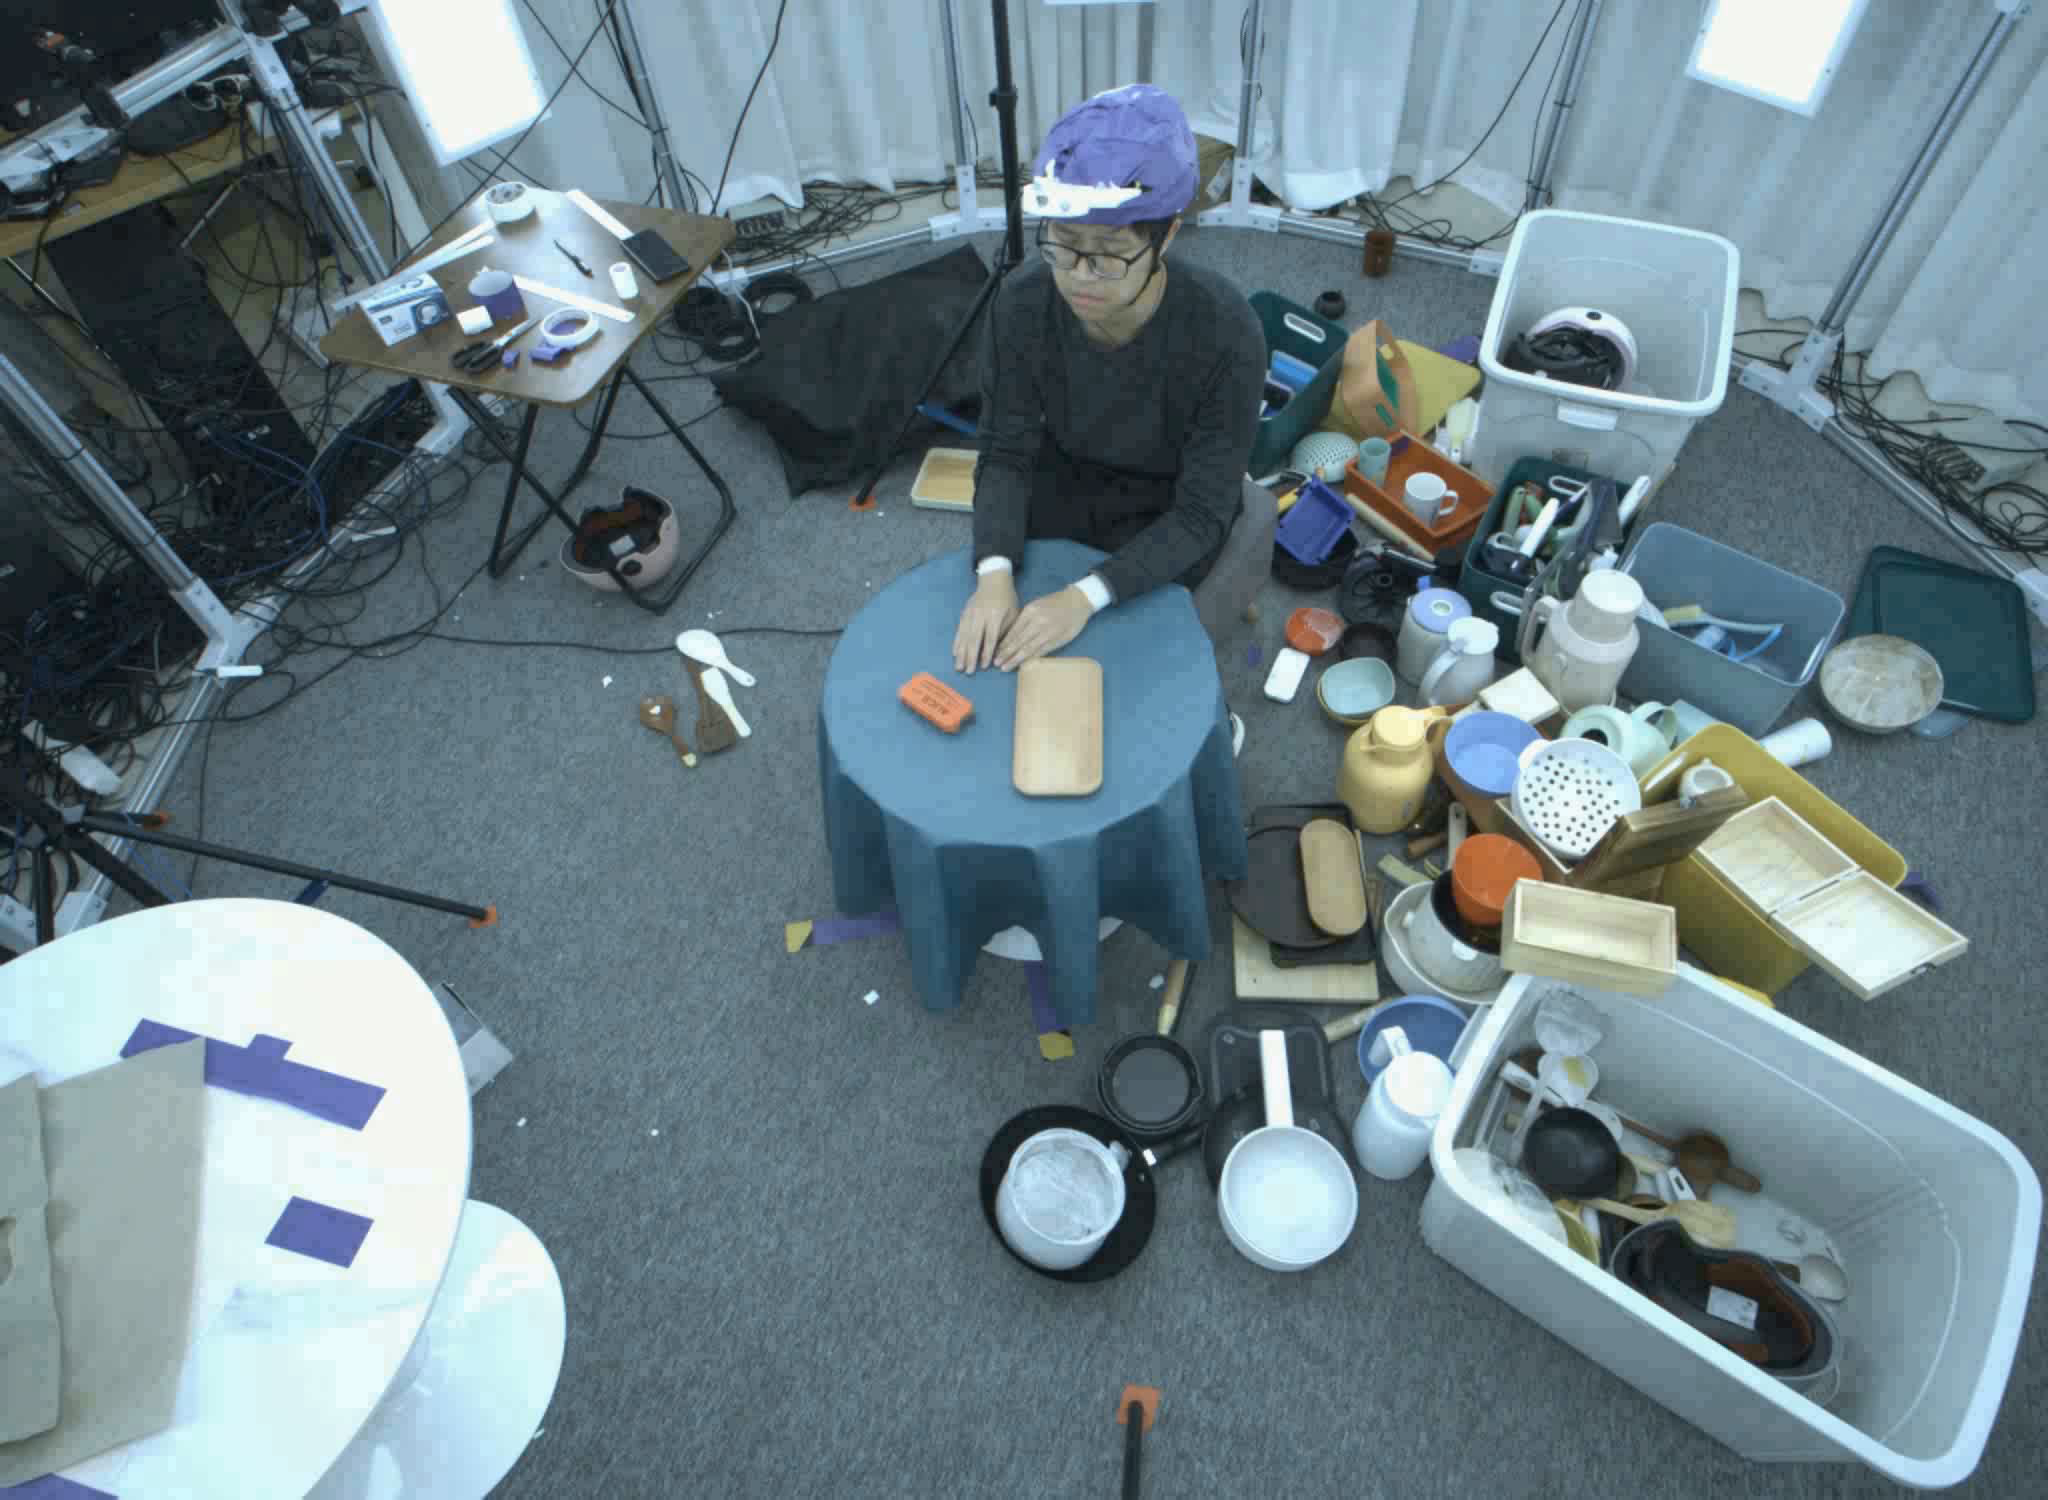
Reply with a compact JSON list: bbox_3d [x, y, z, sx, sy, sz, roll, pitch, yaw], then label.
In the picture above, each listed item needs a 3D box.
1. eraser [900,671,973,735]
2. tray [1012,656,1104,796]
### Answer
[{"bbox_3d":[-0.131,-0.071,1.827,0.106,0.023,0.059,35,63,24],"label":"eraser"},{"bbox_3d":[0.051,-0.038,1.802,0.130,0.023,0.248,3,54,1],"label":"tray"}]
